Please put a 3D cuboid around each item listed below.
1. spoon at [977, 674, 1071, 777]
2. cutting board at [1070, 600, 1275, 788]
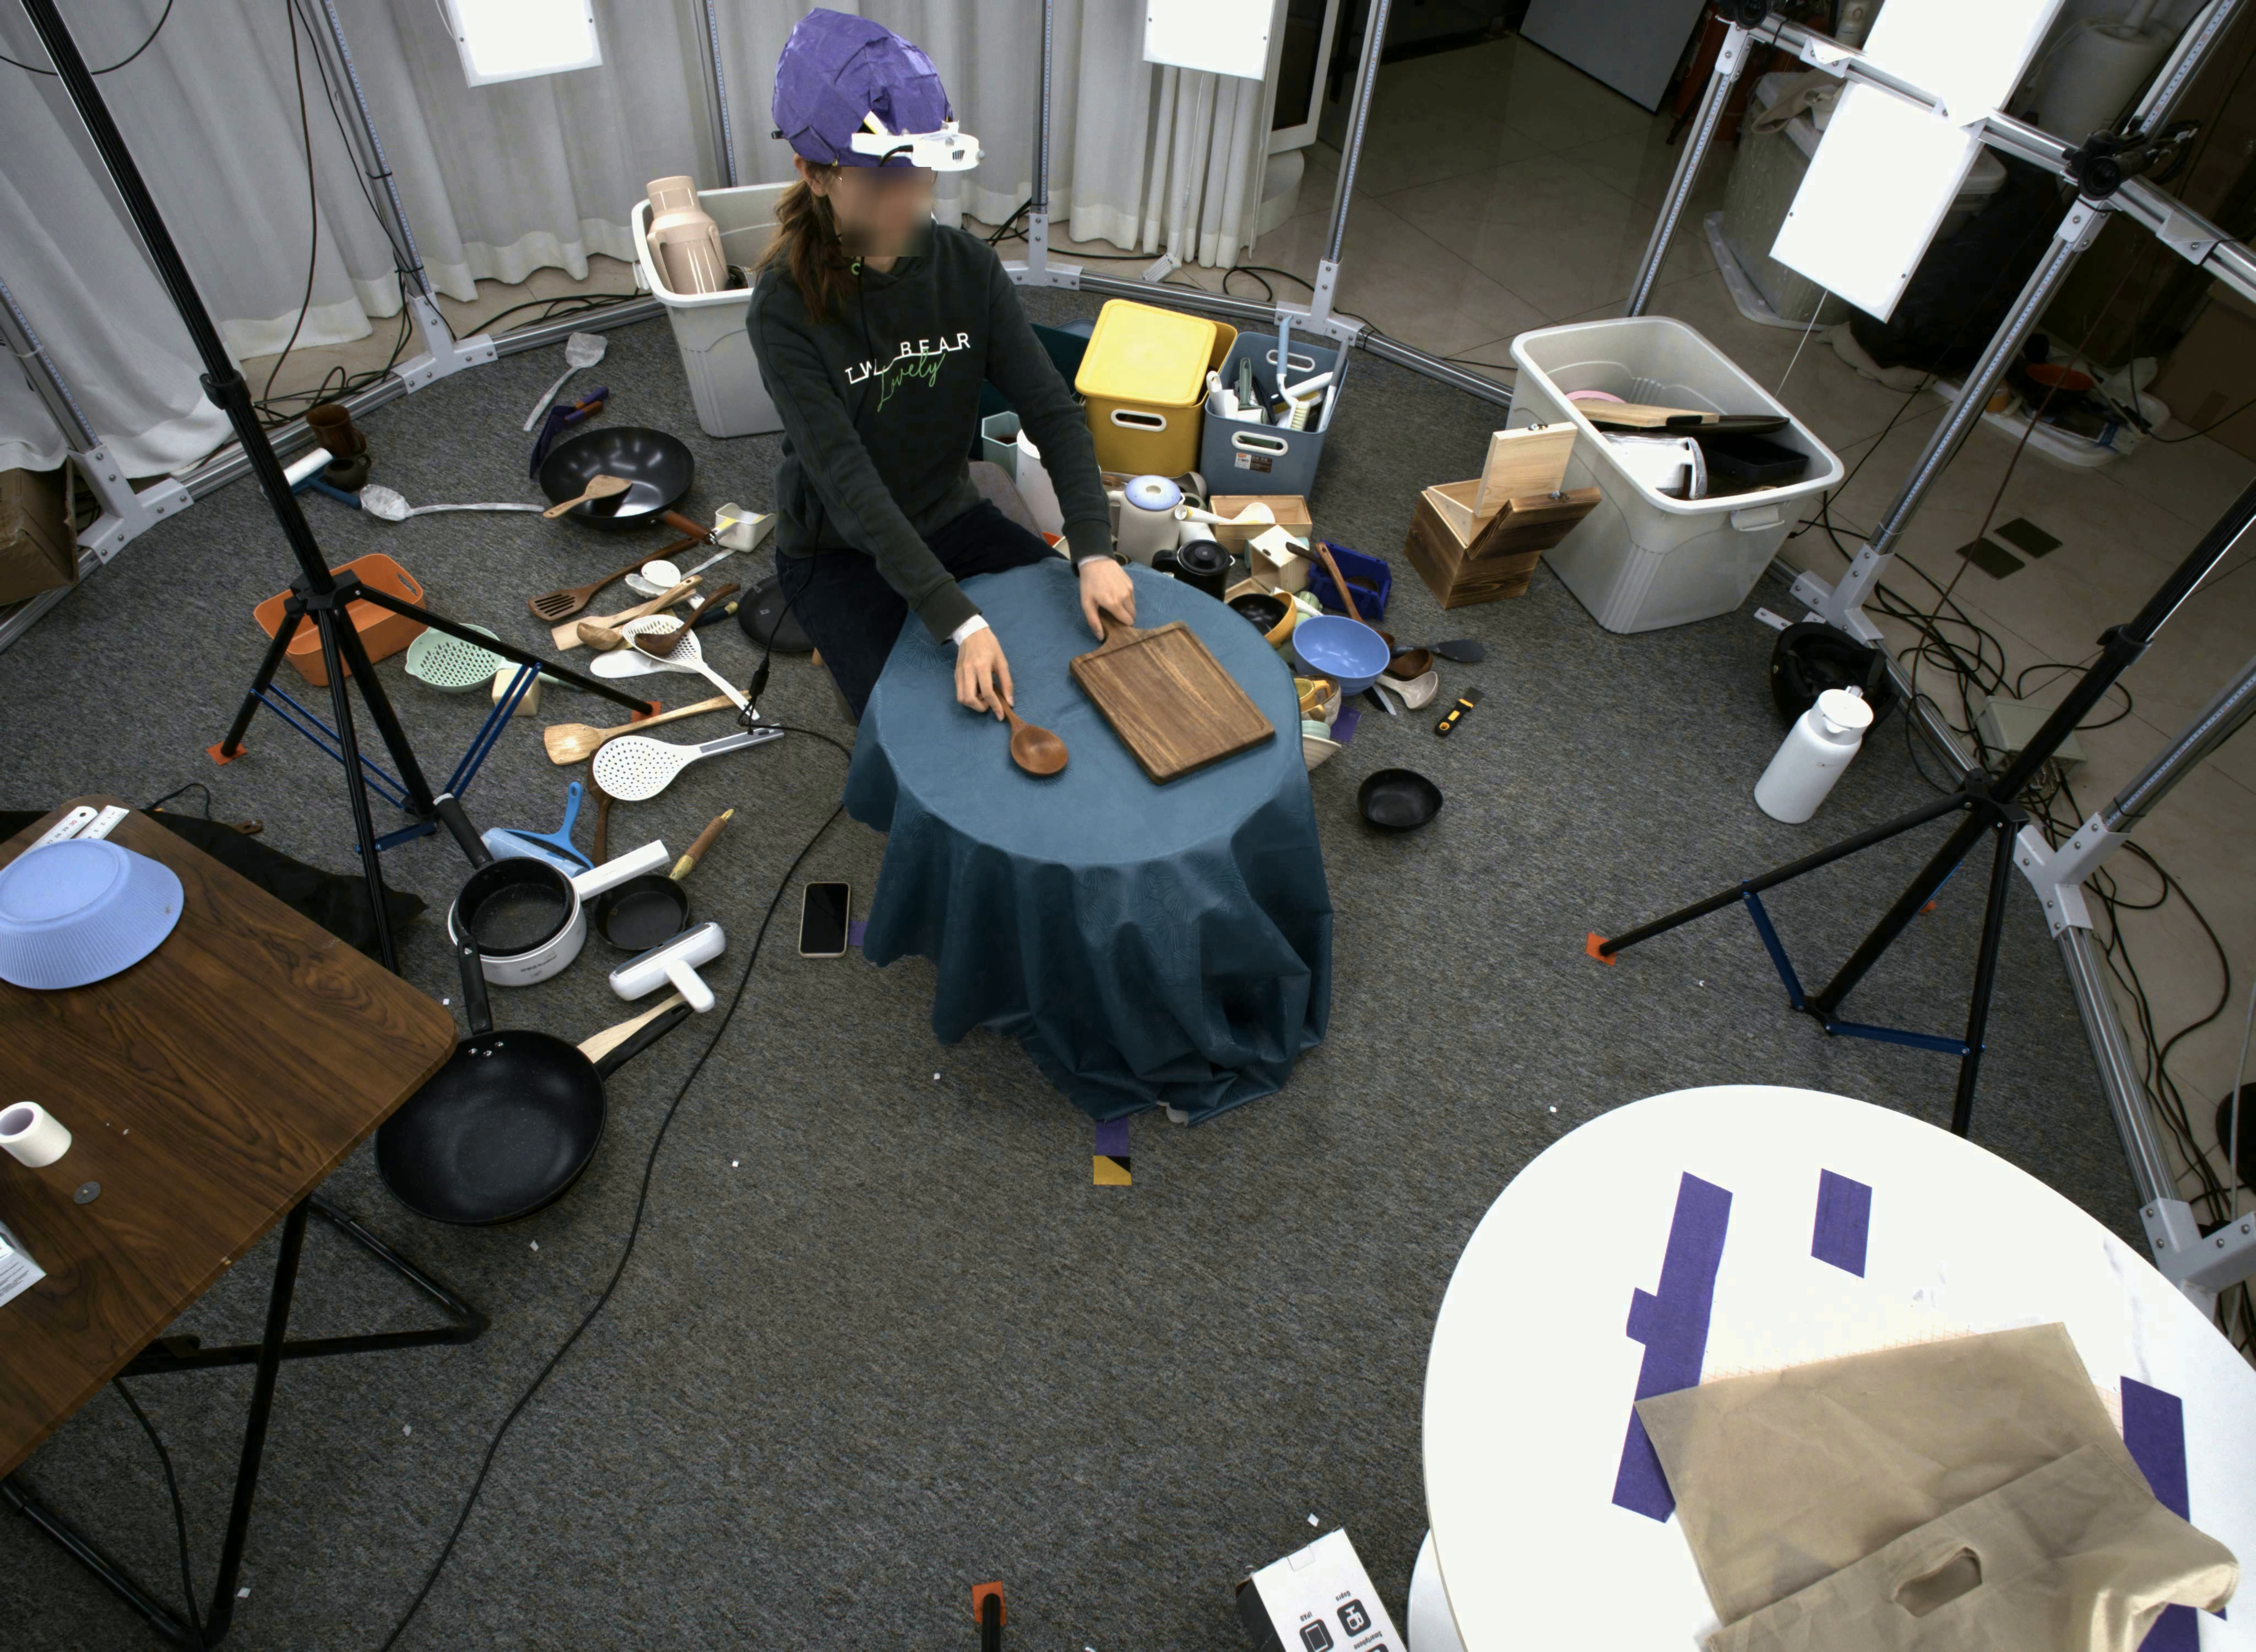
[{"bbox_3d":[-0.152,-0.141,1.785,0.076,0.017,0.220,-24,55,-21],"label":"spoon"},{"bbox_3d":[0.036,-0.213,1.855,0.201,0.022,0.359,-23,55,-20],"label":"cutting board"}]
